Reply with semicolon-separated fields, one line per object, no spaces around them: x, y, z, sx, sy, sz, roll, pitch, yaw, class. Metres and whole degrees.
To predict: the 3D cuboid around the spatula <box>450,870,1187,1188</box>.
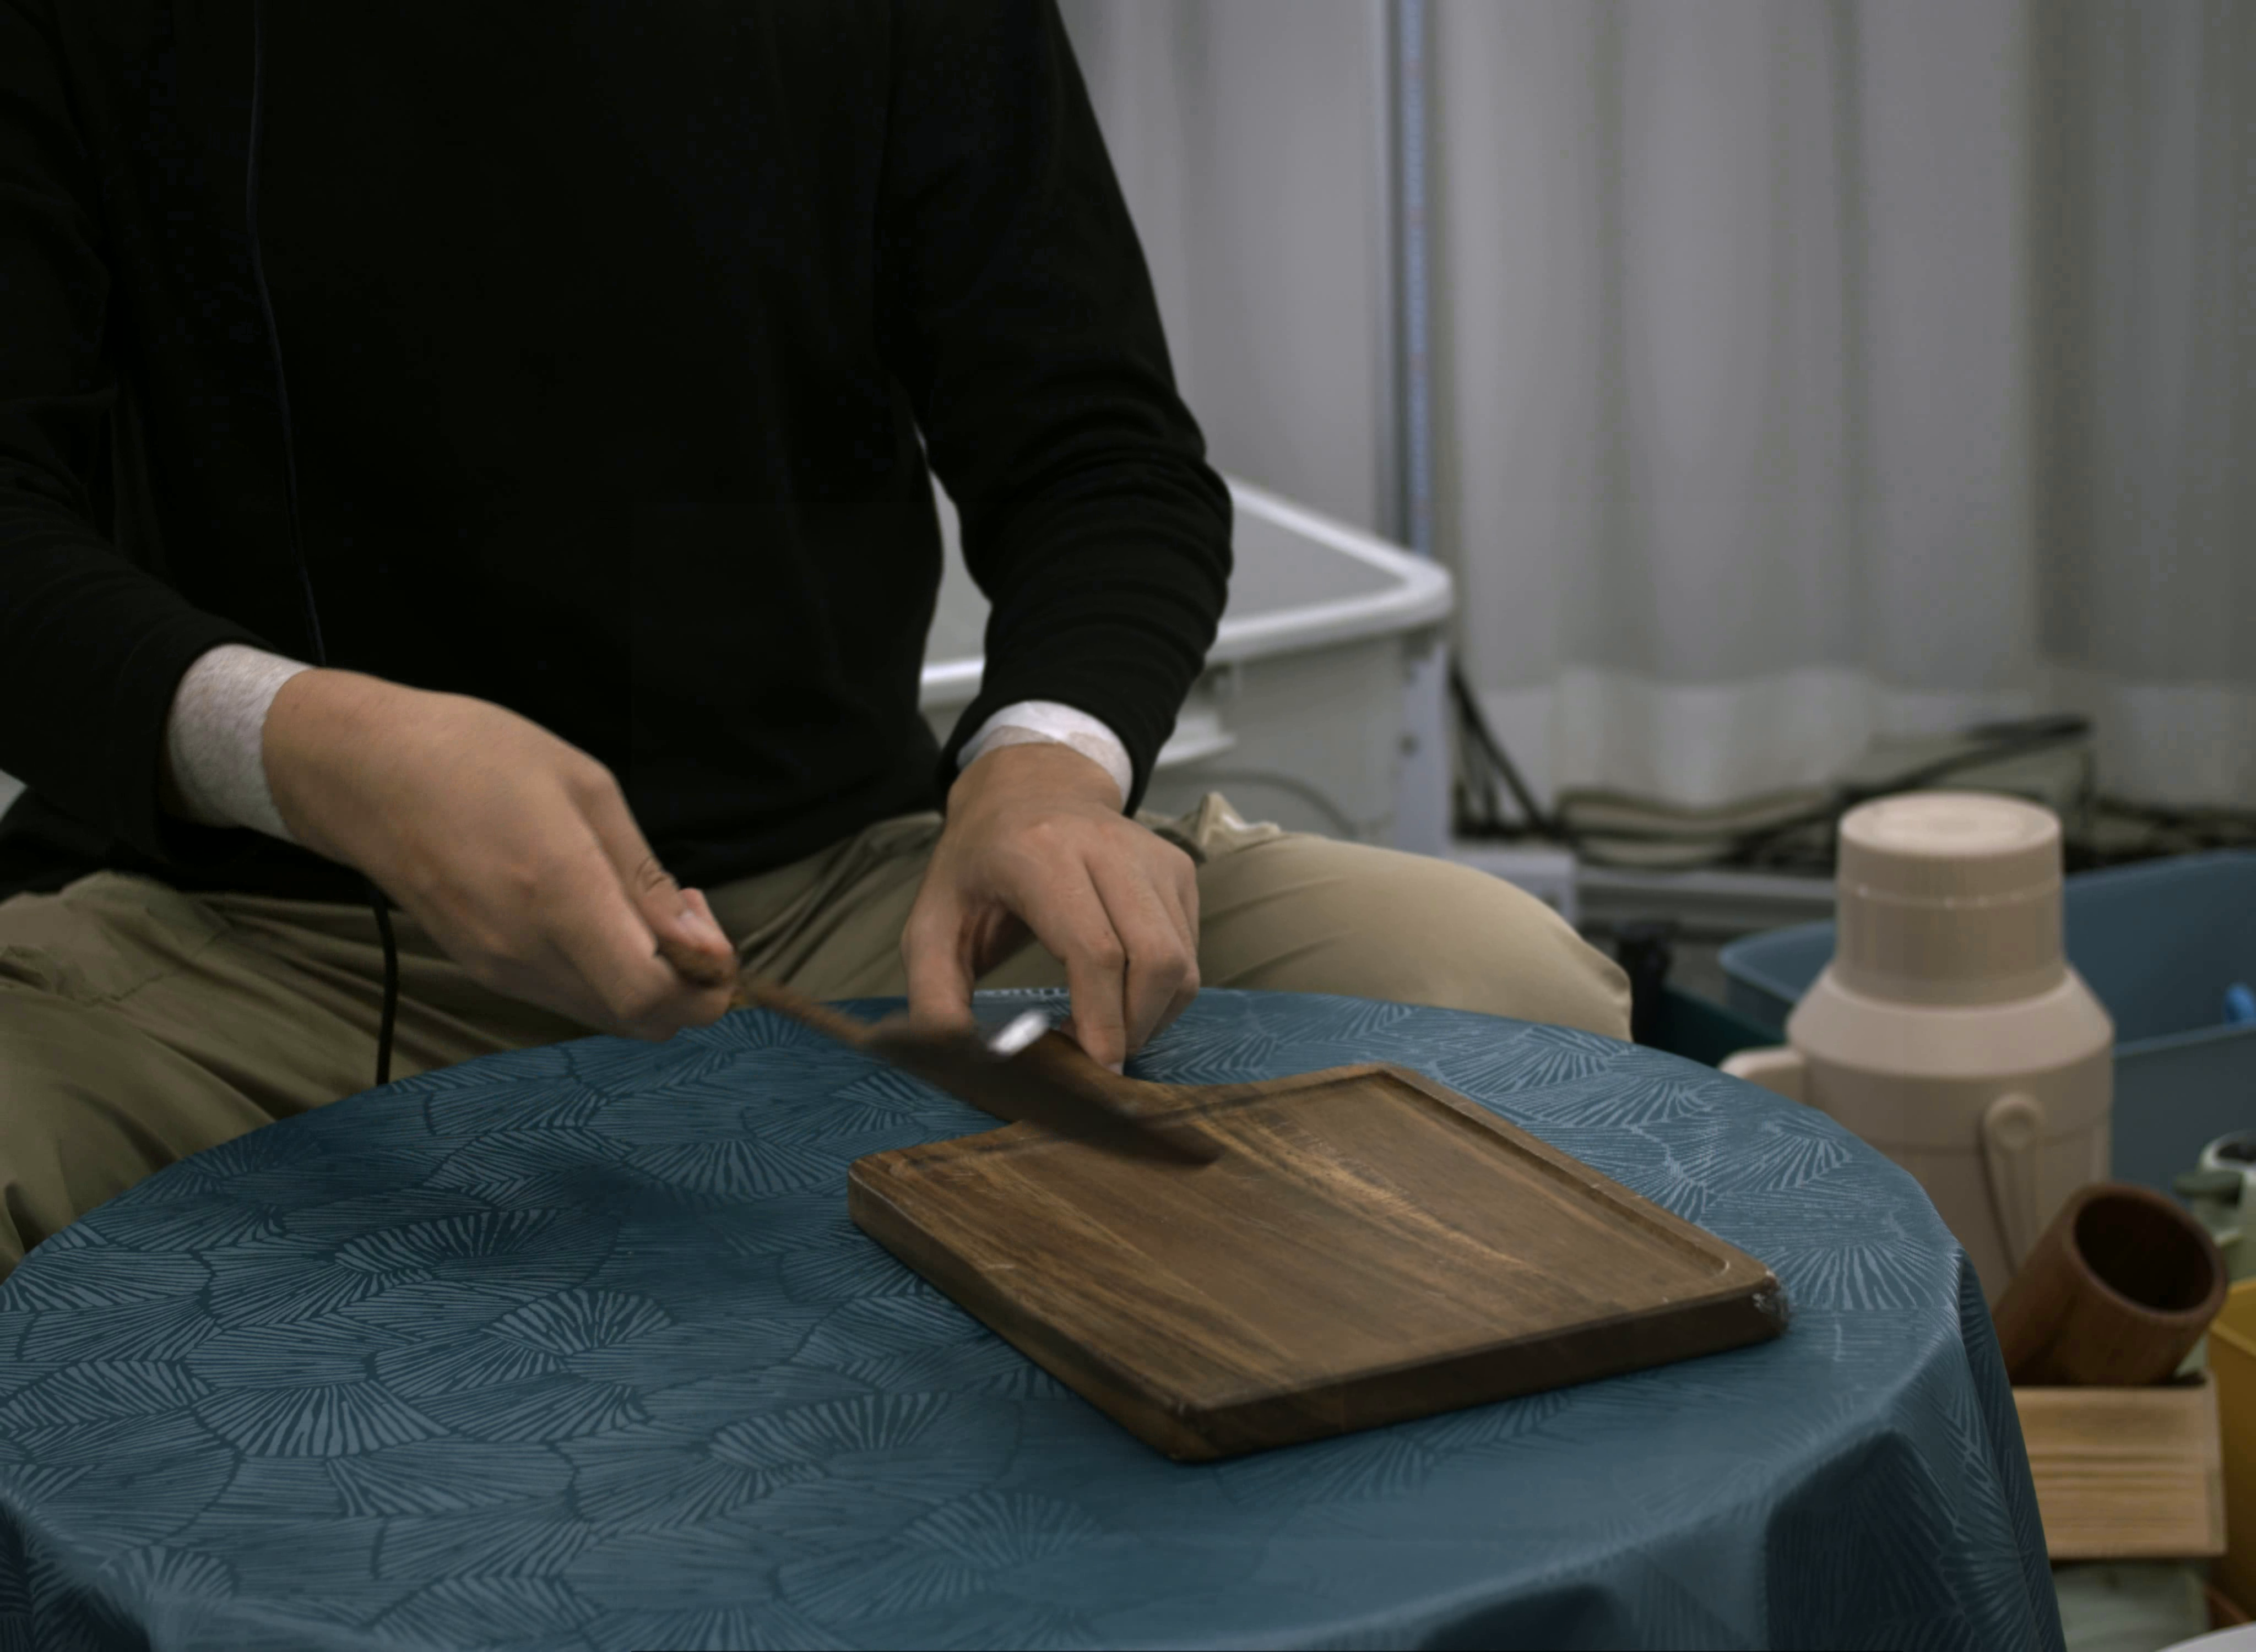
-0.113;0.053;1.632;0.095;0.016;0.388;28;-5;-33;spatula

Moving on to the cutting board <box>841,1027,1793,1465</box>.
0.030;0.114;1.671;0.200;0.023;0.355;-9;16;-23;cutting board
